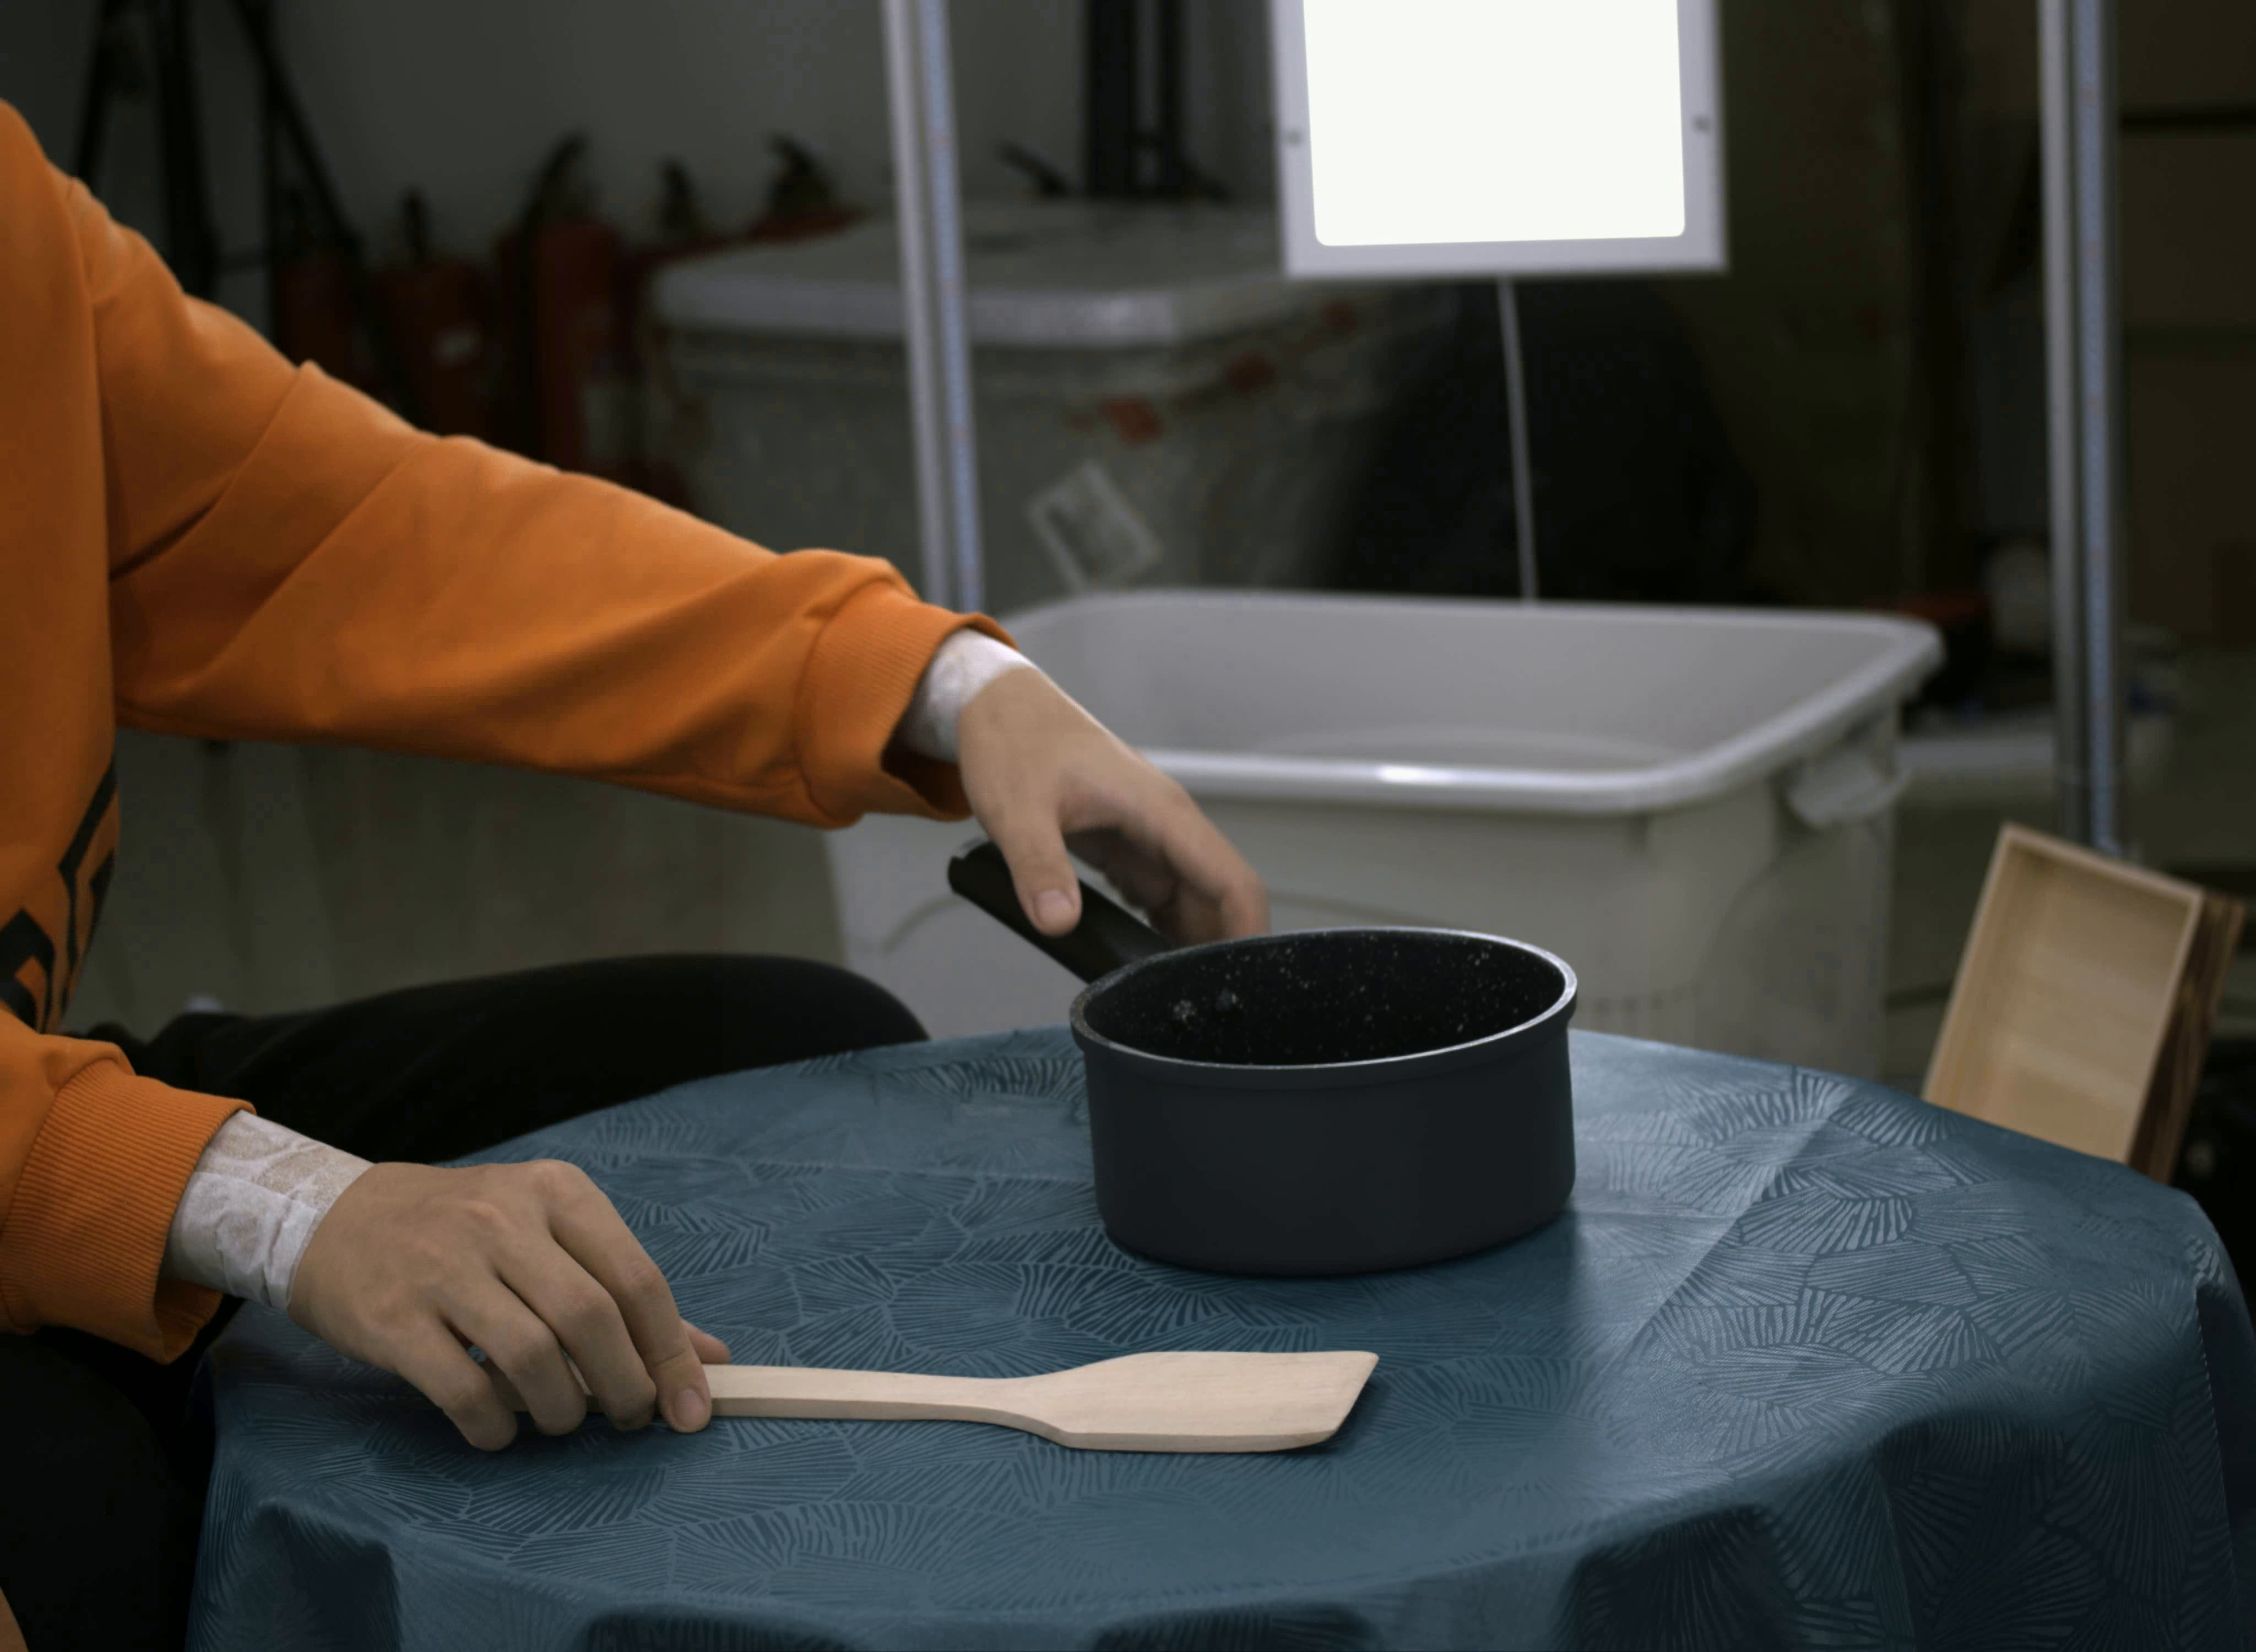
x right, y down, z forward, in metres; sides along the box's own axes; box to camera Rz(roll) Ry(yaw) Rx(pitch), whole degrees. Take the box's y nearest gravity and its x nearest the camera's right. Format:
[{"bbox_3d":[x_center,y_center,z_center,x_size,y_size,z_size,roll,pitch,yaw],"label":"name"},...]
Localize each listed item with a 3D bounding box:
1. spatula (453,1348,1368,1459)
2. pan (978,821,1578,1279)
[{"bbox_3d":[-0.073,0.175,1.706,0.296,0.011,0.071,0,18,19],"label":"spatula"},{"bbox_3d":[0.031,0.074,1.922,0.168,0.087,0.334,-10,16,-24],"label":"pan"}]
